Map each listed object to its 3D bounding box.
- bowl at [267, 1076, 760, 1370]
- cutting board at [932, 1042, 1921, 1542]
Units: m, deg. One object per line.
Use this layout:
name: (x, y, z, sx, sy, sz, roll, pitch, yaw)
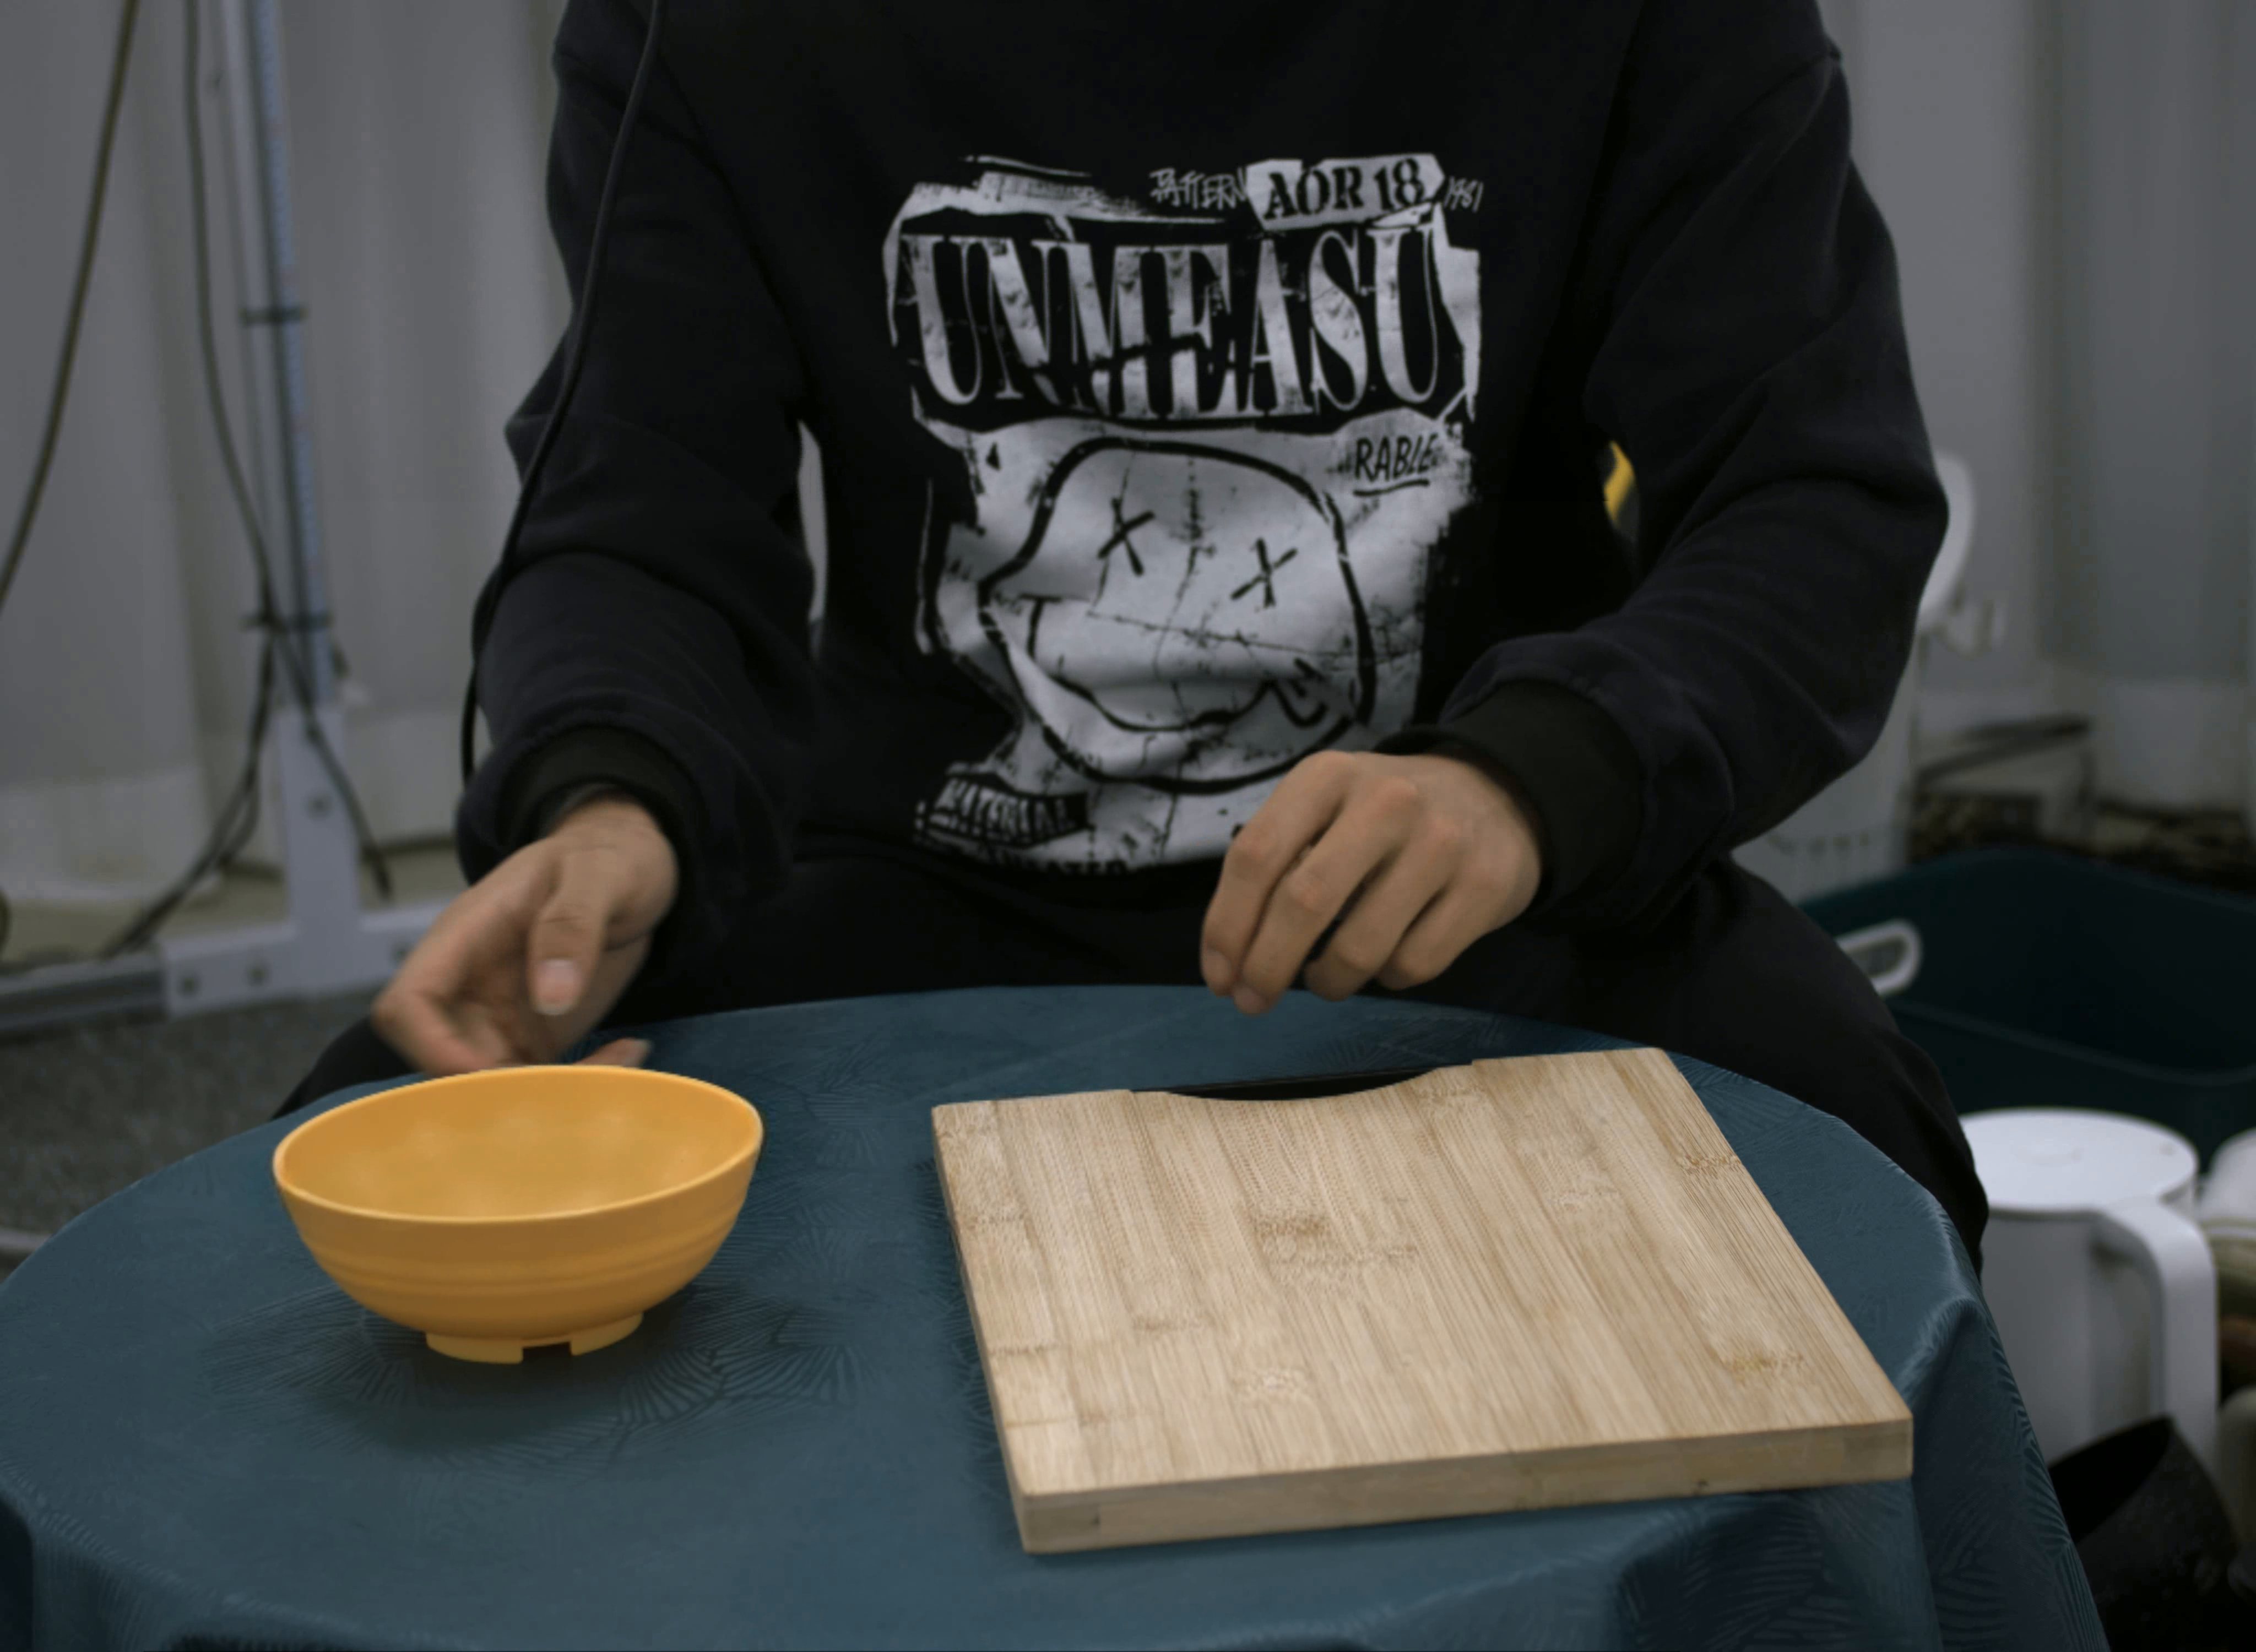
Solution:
bowl: (-0.180, 0.122, 1.615, 0.145, 0.060, 0.146, 0, 13, 0)
cutting board: (0.074, 0.131, 1.608, 0.250, 0.023, 0.351, -4, 15, -6)
